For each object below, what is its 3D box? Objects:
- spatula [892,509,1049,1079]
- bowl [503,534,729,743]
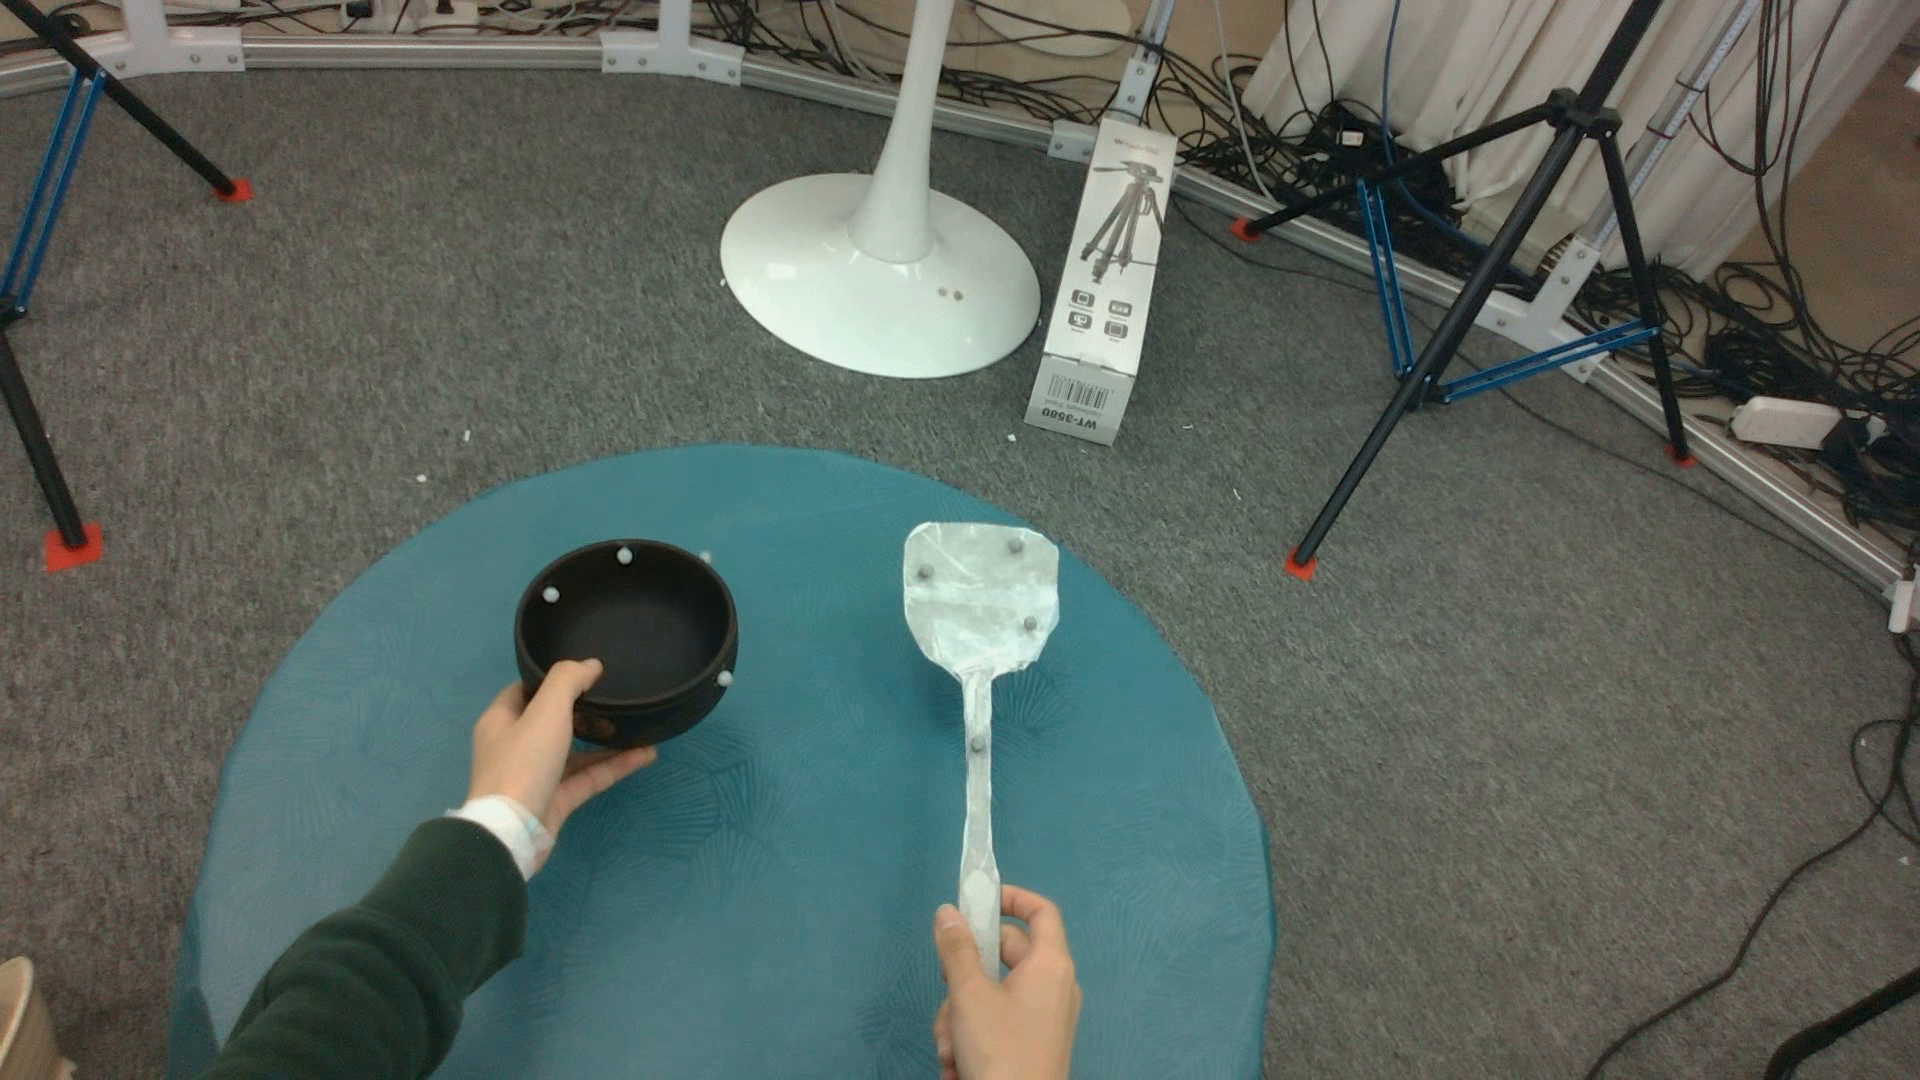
[{"bbox_3d":[0.003,0.125,0.754,0.099,0.044,0.366,7,44,-6],"label":"spatula"},{"bbox_3d":[-0.187,0.061,0.757,0.118,0.069,0.118,4,47,-5],"label":"bowl"}]
